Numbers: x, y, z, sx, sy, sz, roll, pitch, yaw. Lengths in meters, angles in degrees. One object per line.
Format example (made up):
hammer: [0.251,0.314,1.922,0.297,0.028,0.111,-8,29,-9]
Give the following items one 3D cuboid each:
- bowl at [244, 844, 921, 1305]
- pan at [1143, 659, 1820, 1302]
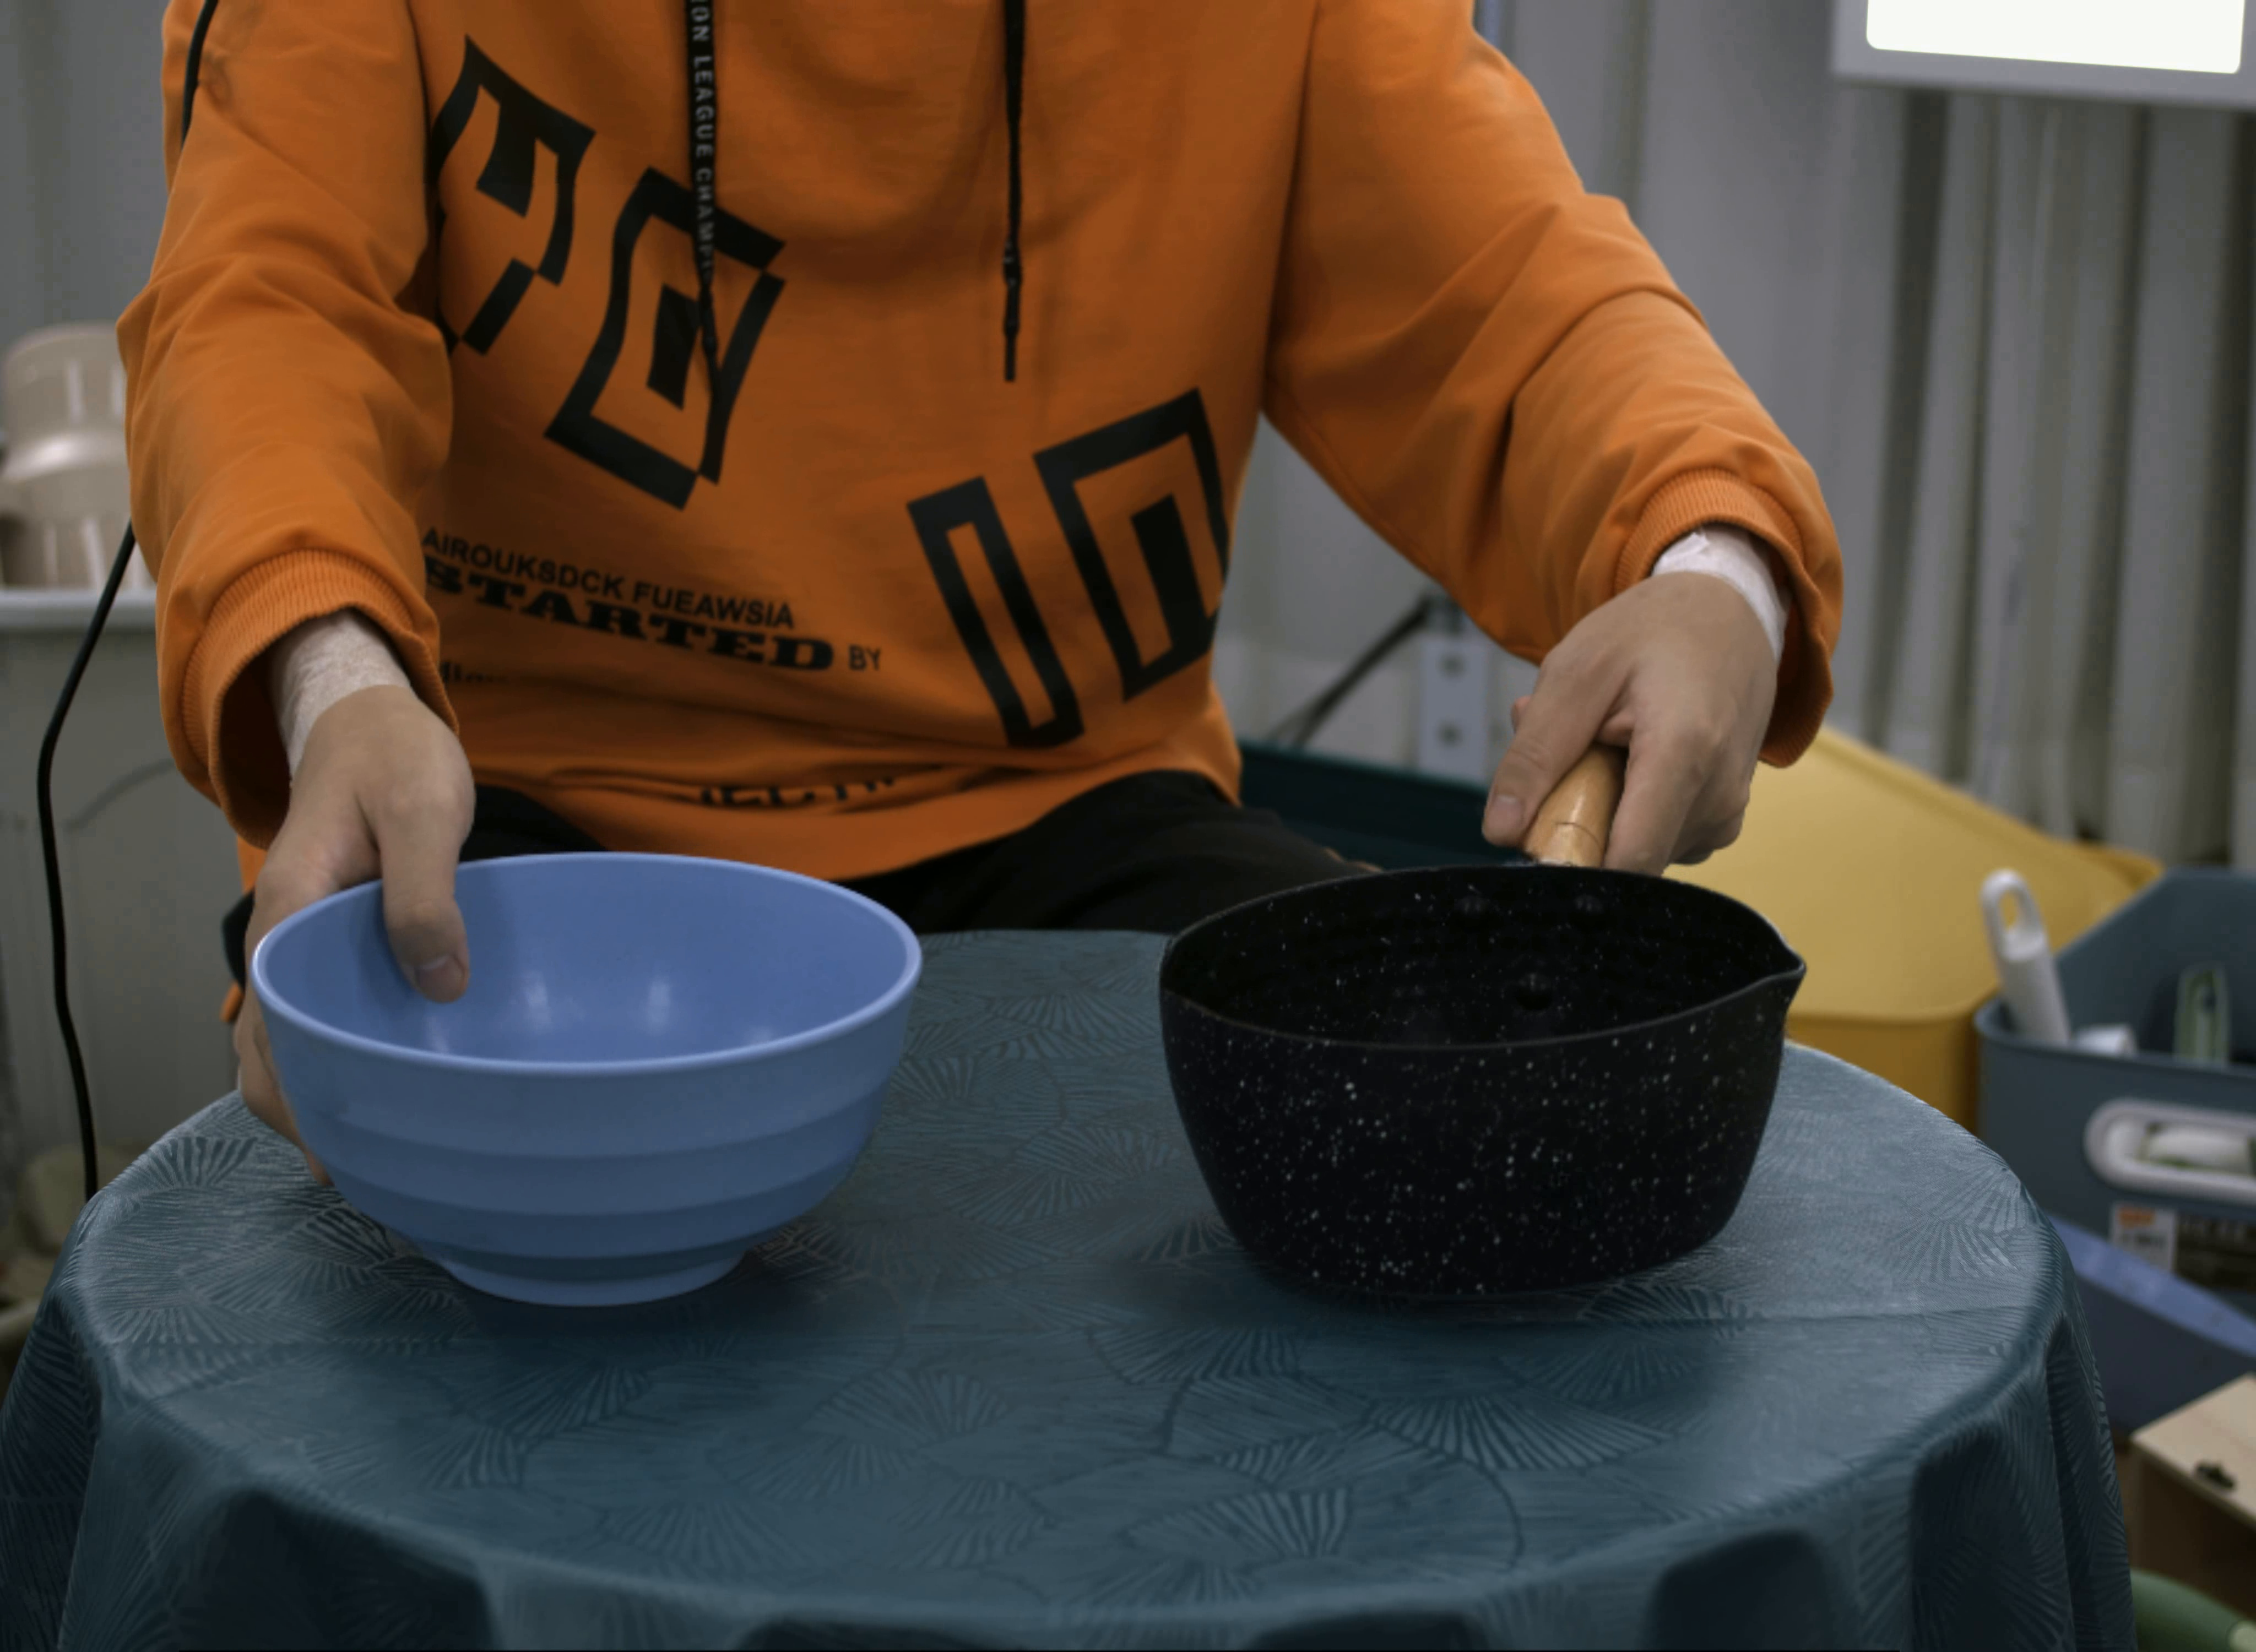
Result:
bowl: [-0.159,0.079,1.549,0.196,0.096,0.195,1,19,0]
pan: [0.123,0.043,1.634,0.206,0.109,0.342,0,17,15]
